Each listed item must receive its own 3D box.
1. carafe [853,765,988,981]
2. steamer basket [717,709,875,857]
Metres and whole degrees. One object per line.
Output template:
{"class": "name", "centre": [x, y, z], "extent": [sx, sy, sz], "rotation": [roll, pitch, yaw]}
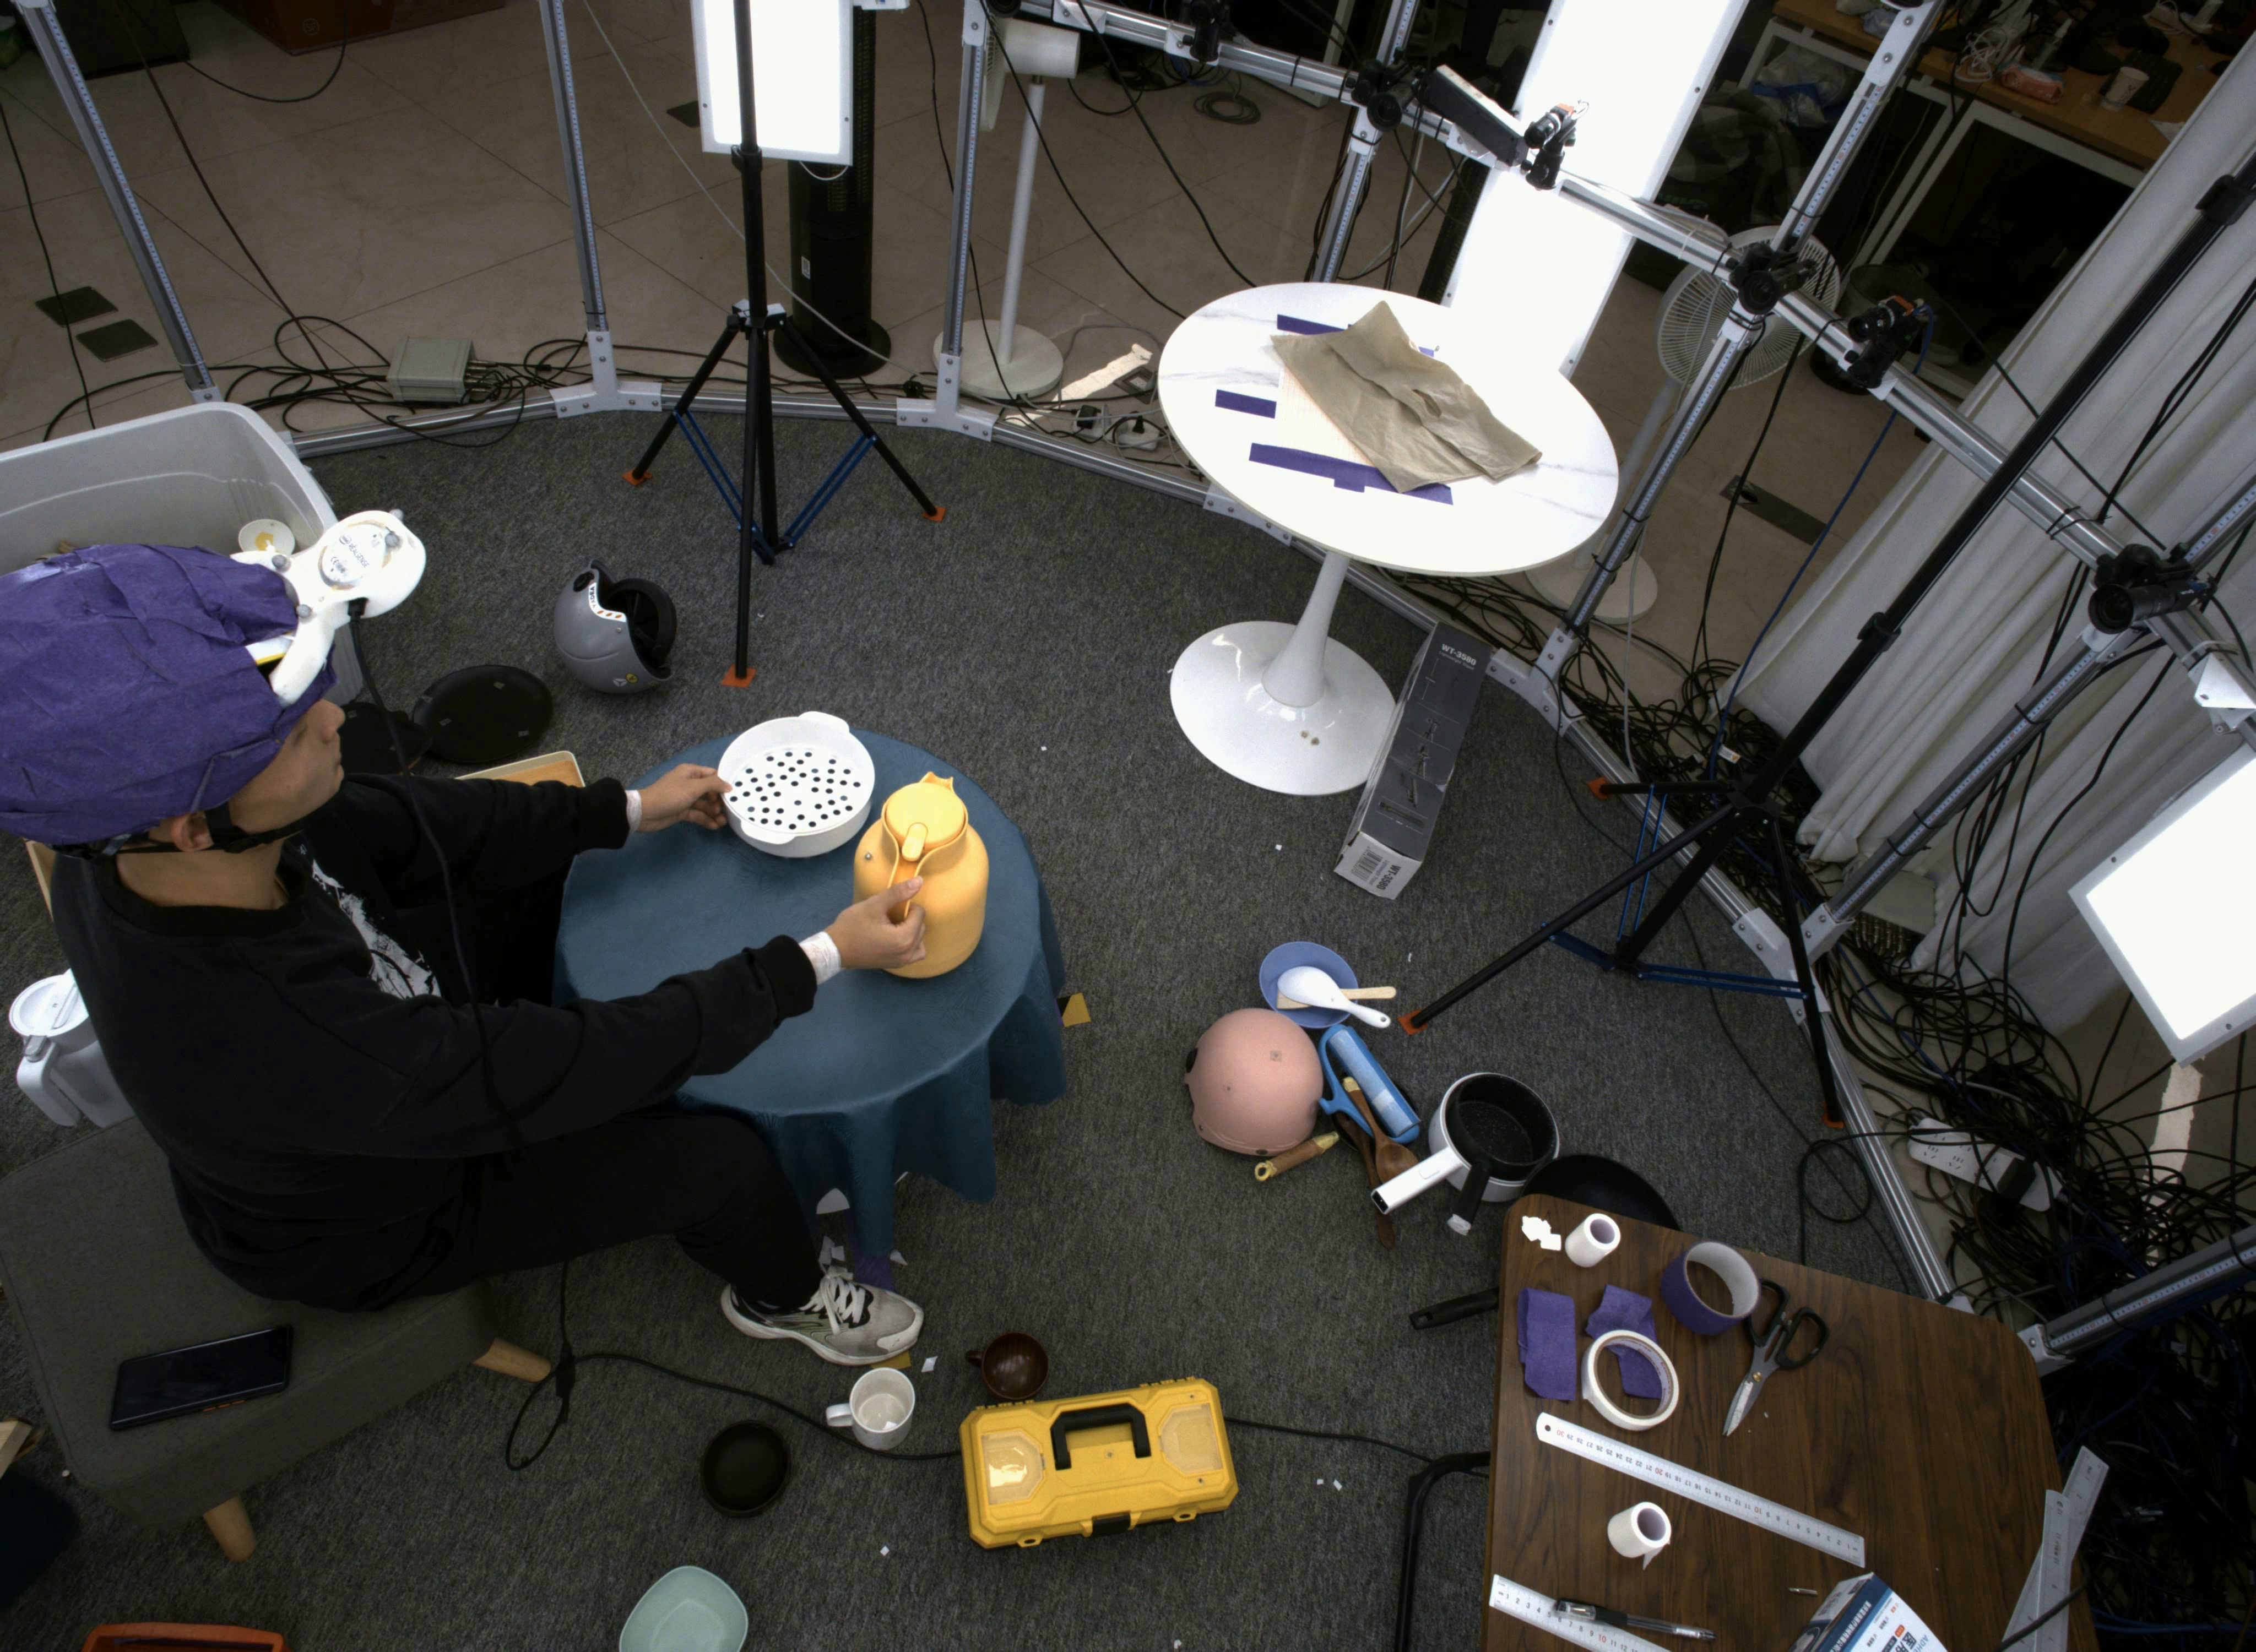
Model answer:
{"class": "carafe", "centre": [-0.254, 0.069, 1.544], "extent": [0.161, 0.267, 0.200], "rotation": [14, 49, 2]}
{"class": "steamer basket", "centre": [-0.439, -0.052, 1.718], "extent": [0.200, 0.070, 0.228], "rotation": [17, 52, -2]}
